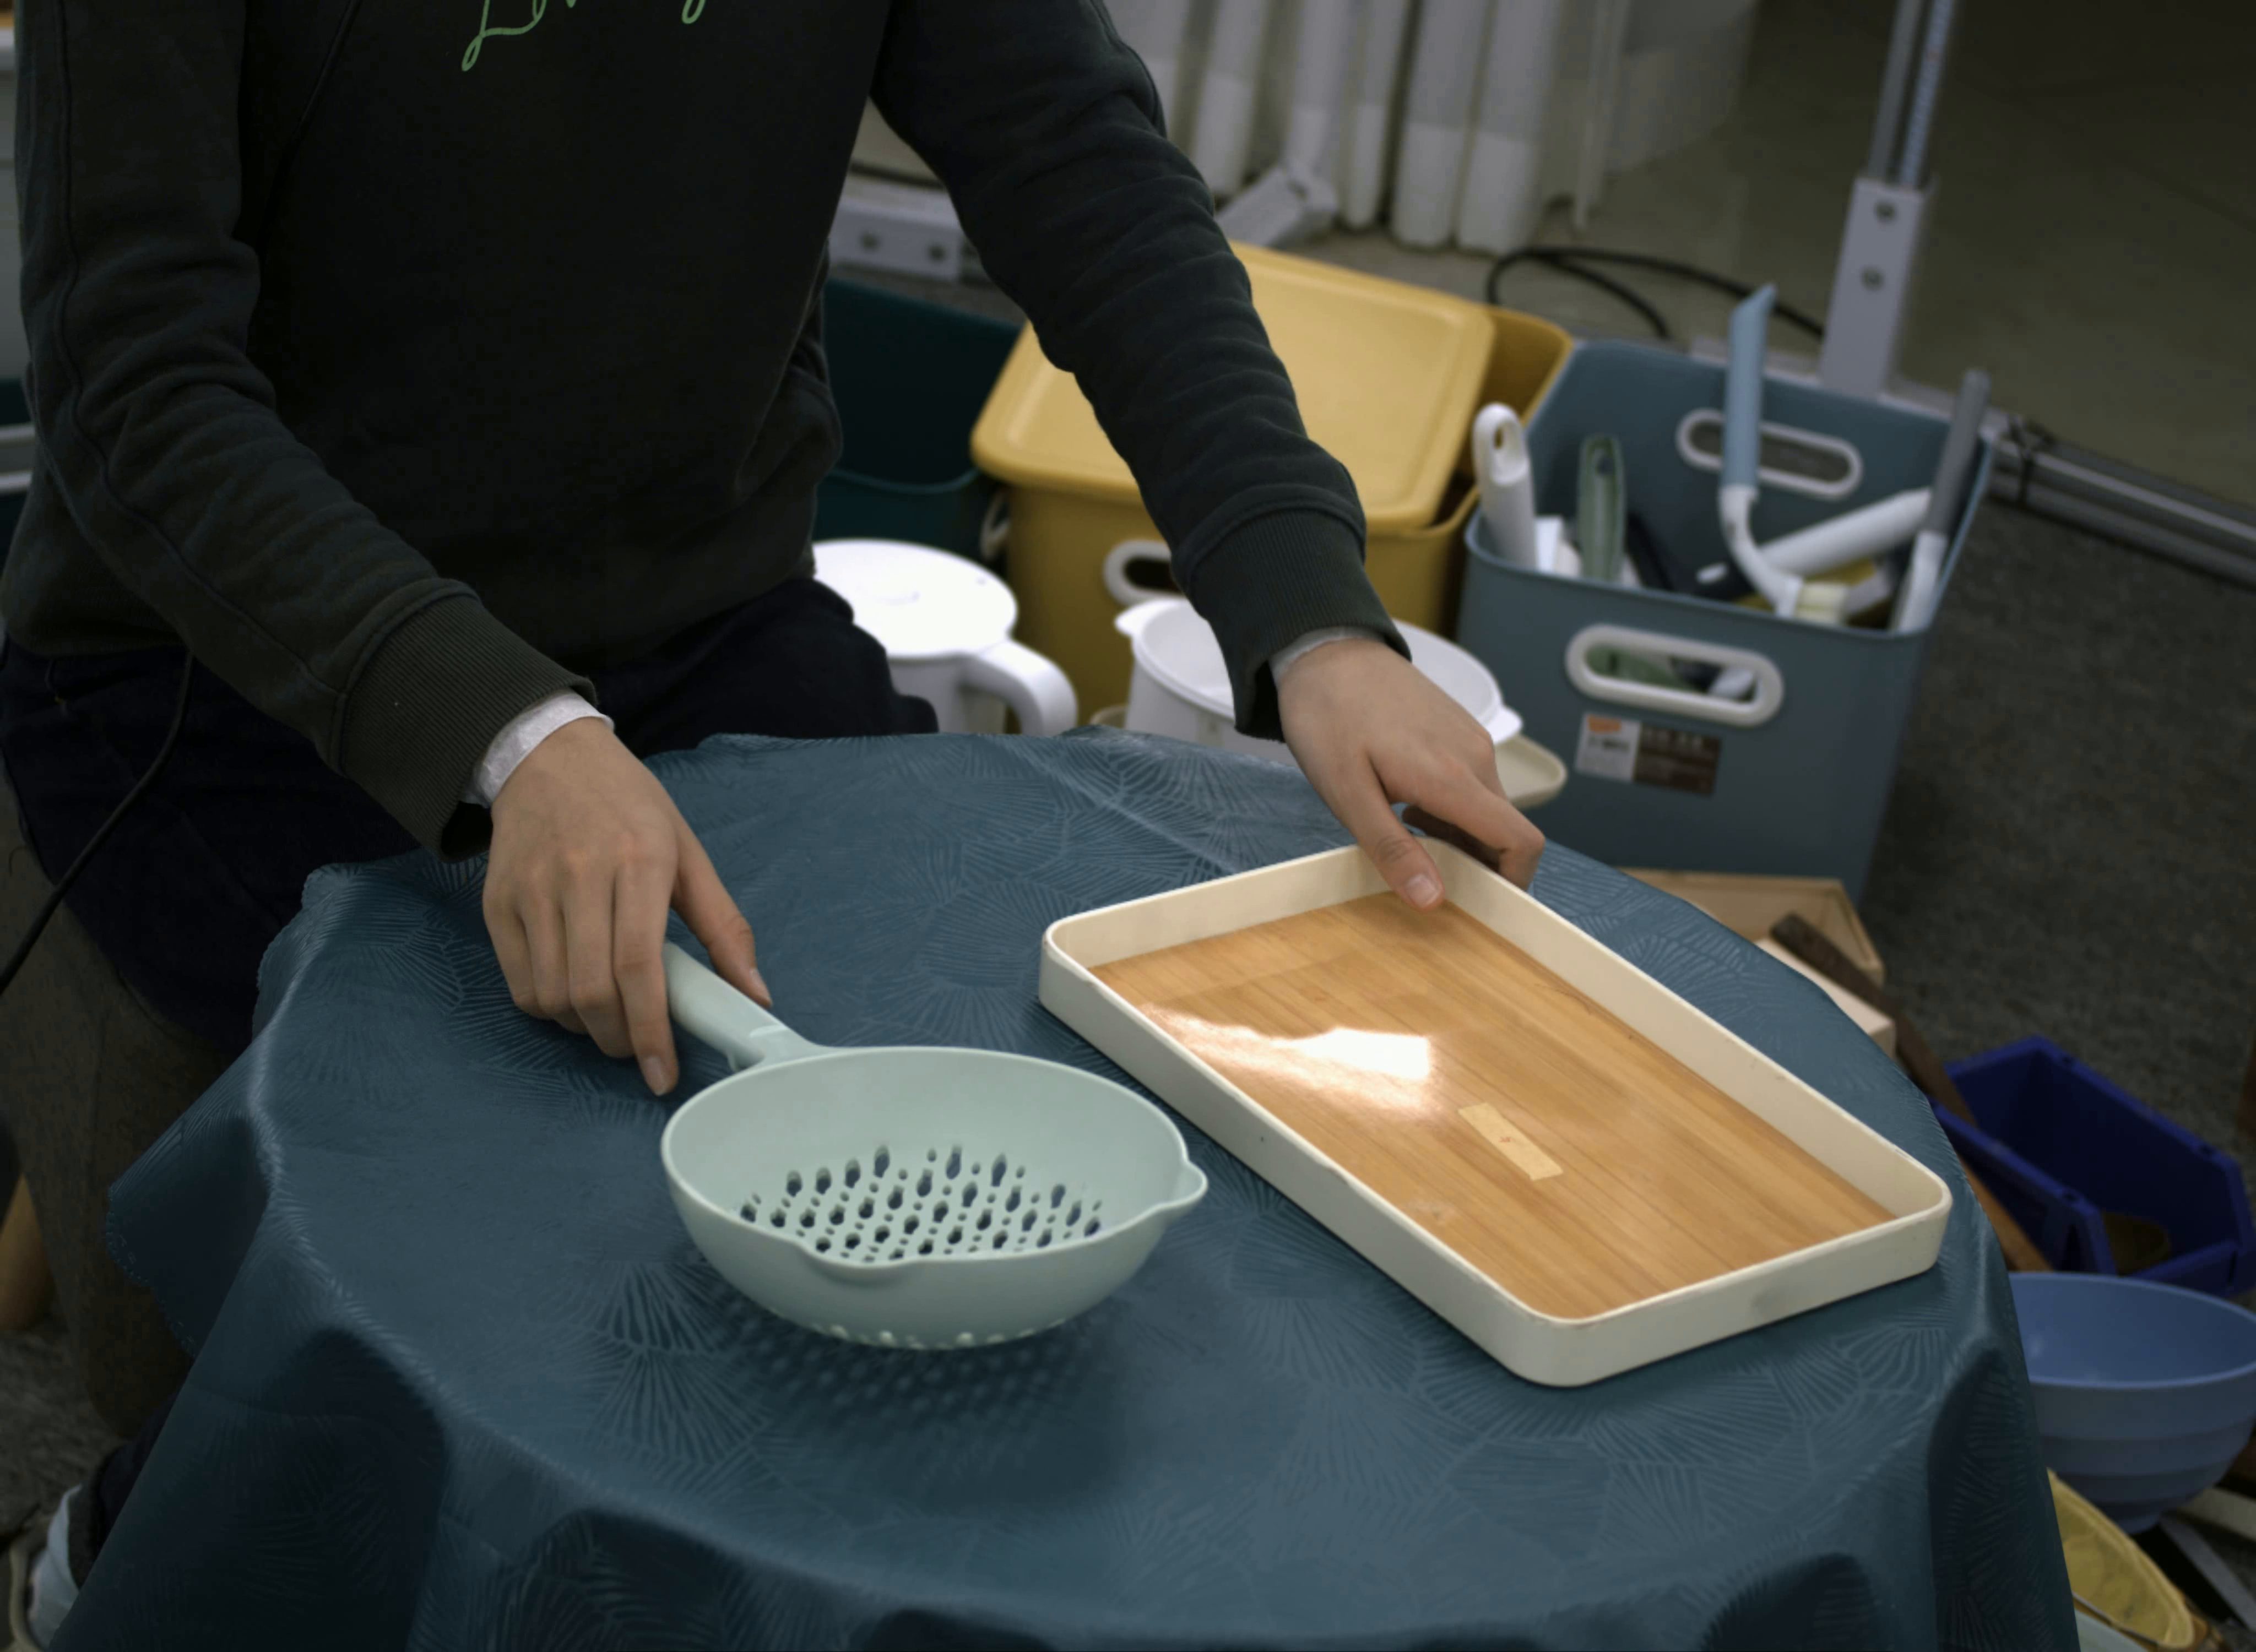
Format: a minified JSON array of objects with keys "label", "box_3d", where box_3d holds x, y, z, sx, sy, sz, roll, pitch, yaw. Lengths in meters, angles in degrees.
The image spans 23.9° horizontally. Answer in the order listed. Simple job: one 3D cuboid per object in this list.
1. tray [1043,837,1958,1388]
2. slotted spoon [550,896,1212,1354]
[{"label":"tray","box_3d":[0.125,0.094,1.859,0.190,0.027,0.303,-13,33,-34]},{"label":"slotted spoon","box_3d":[-0.114,0.084,1.781,0.168,0.075,0.362,-9,30,-29]}]
